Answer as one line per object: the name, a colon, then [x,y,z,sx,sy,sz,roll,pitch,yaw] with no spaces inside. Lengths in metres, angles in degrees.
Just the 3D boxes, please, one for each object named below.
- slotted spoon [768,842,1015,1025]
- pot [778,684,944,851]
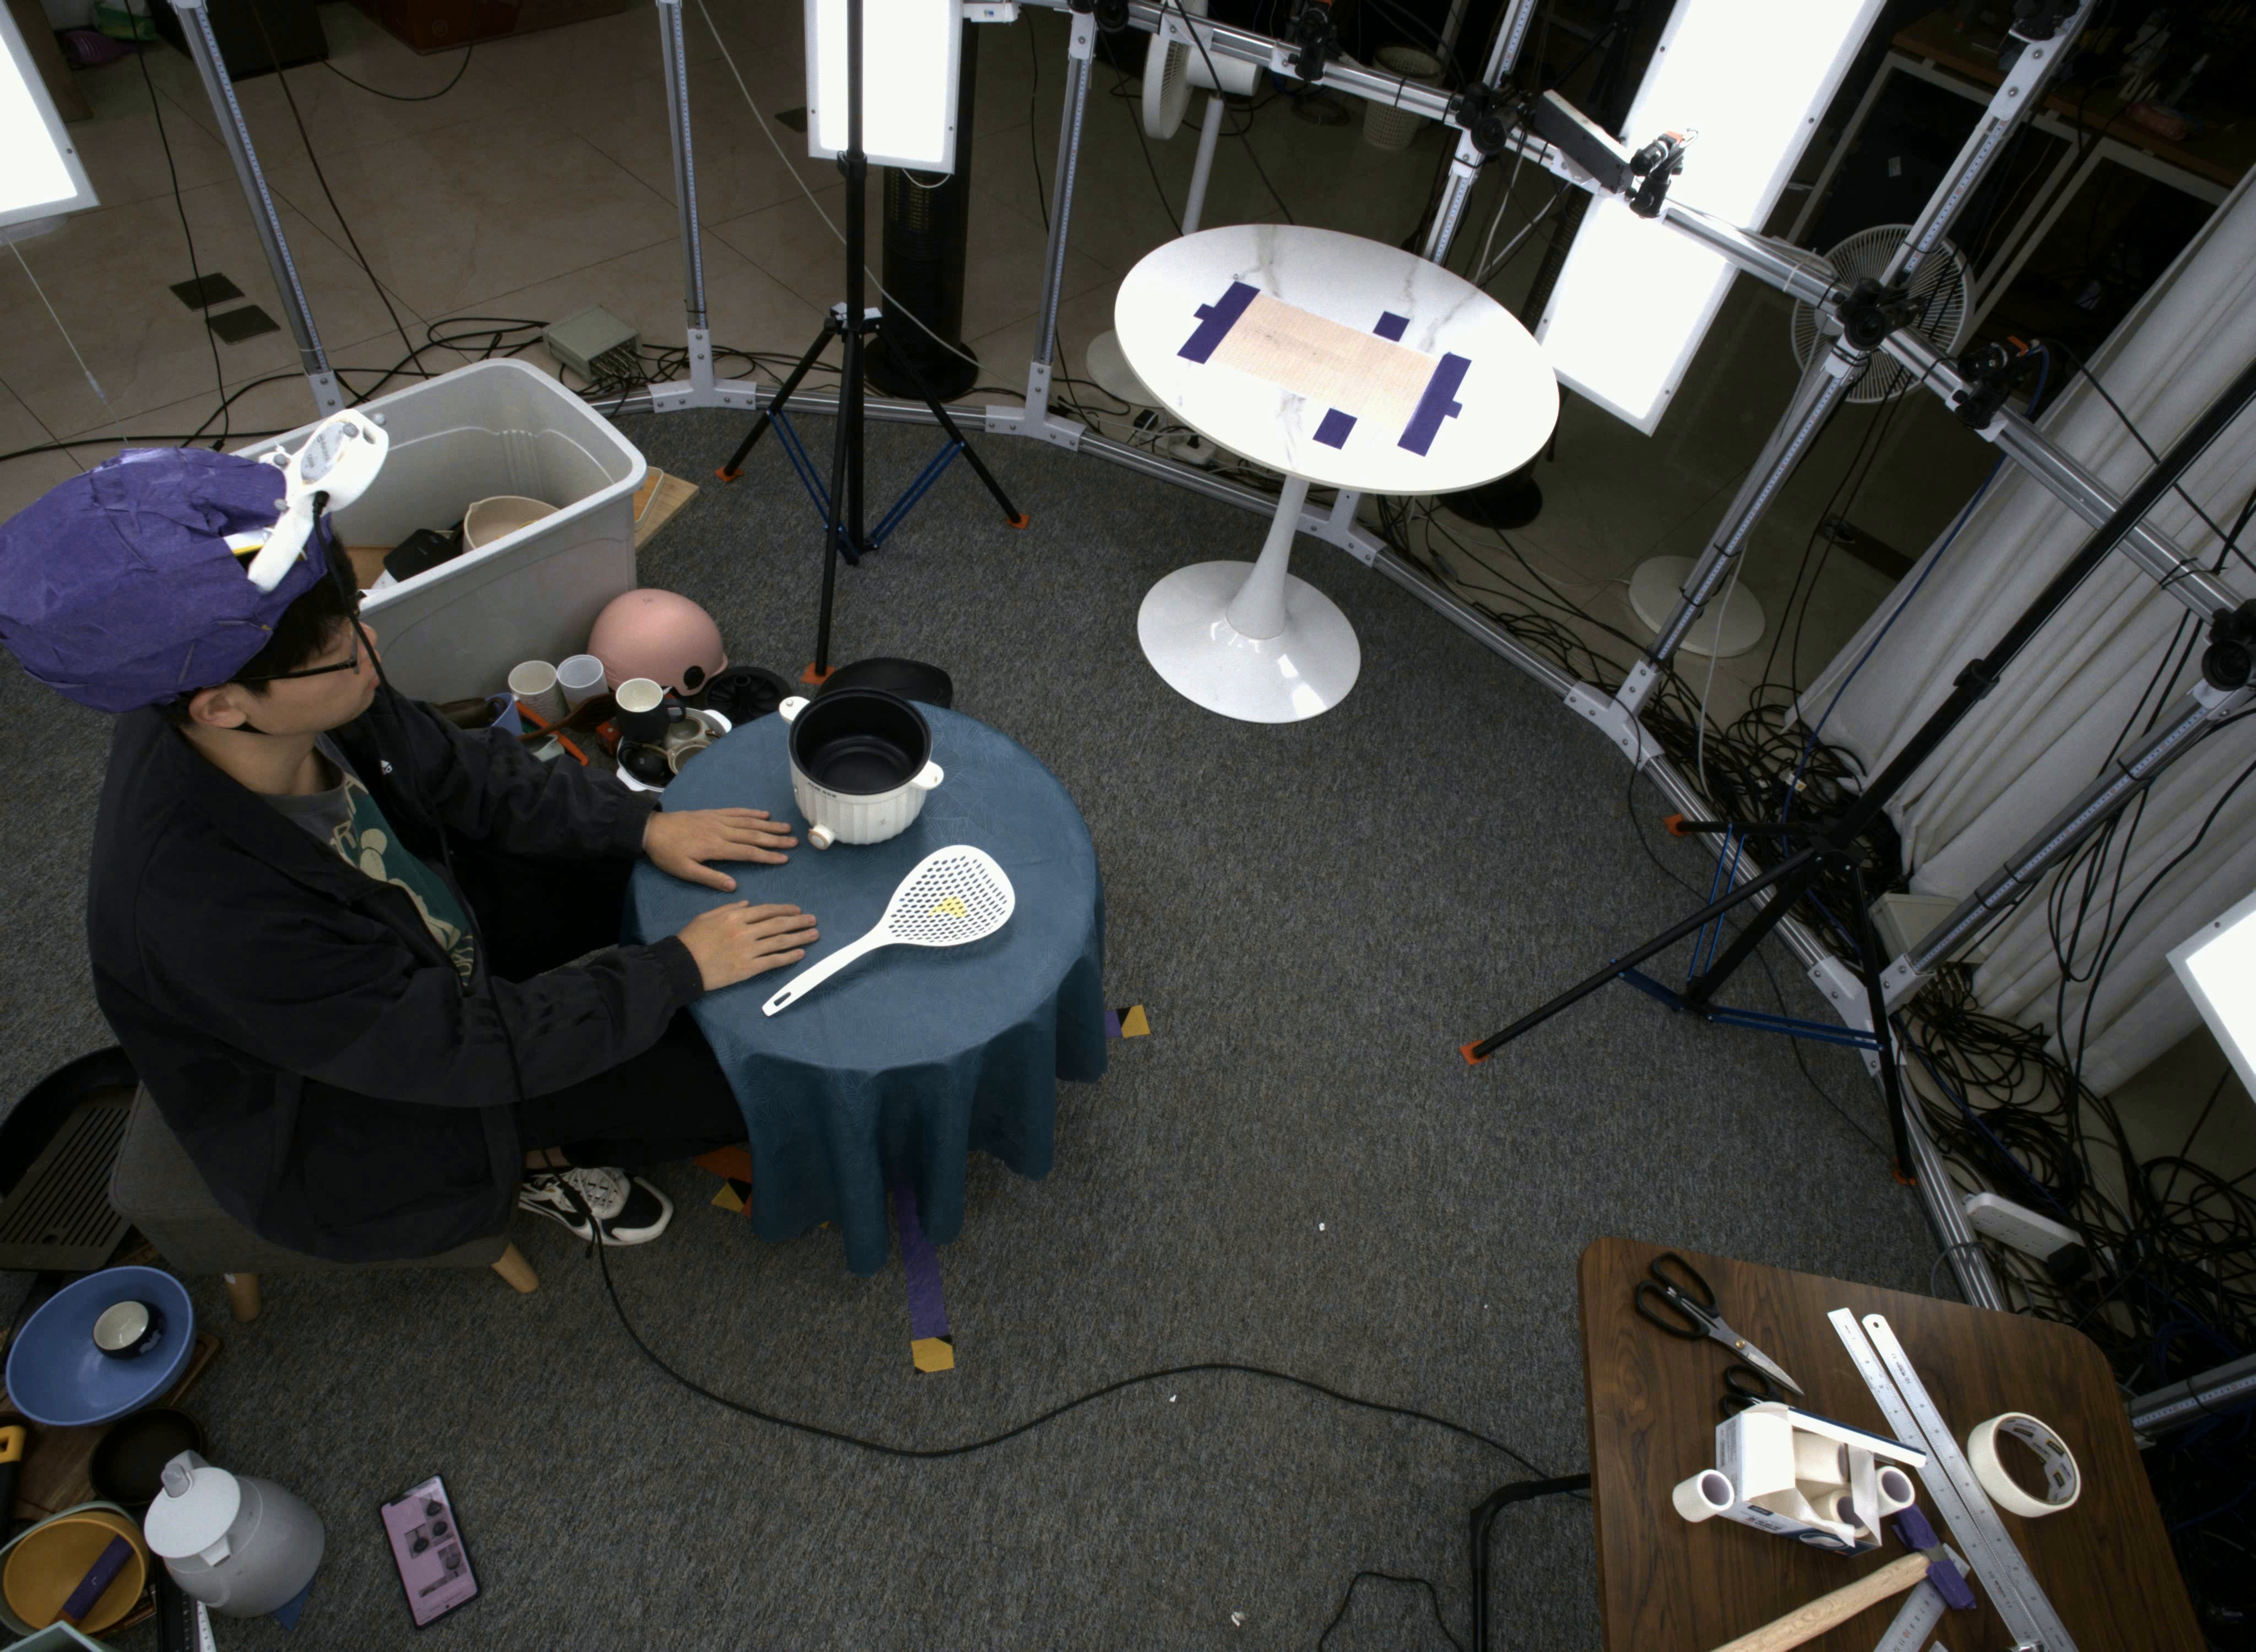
slotted spoon: [-0.300,0.139,1.625,0.349,0.051,0.135,-30,73,-30]
pot: [-0.353,-0.068,1.705,0.236,0.146,0.189,25,49,8]
